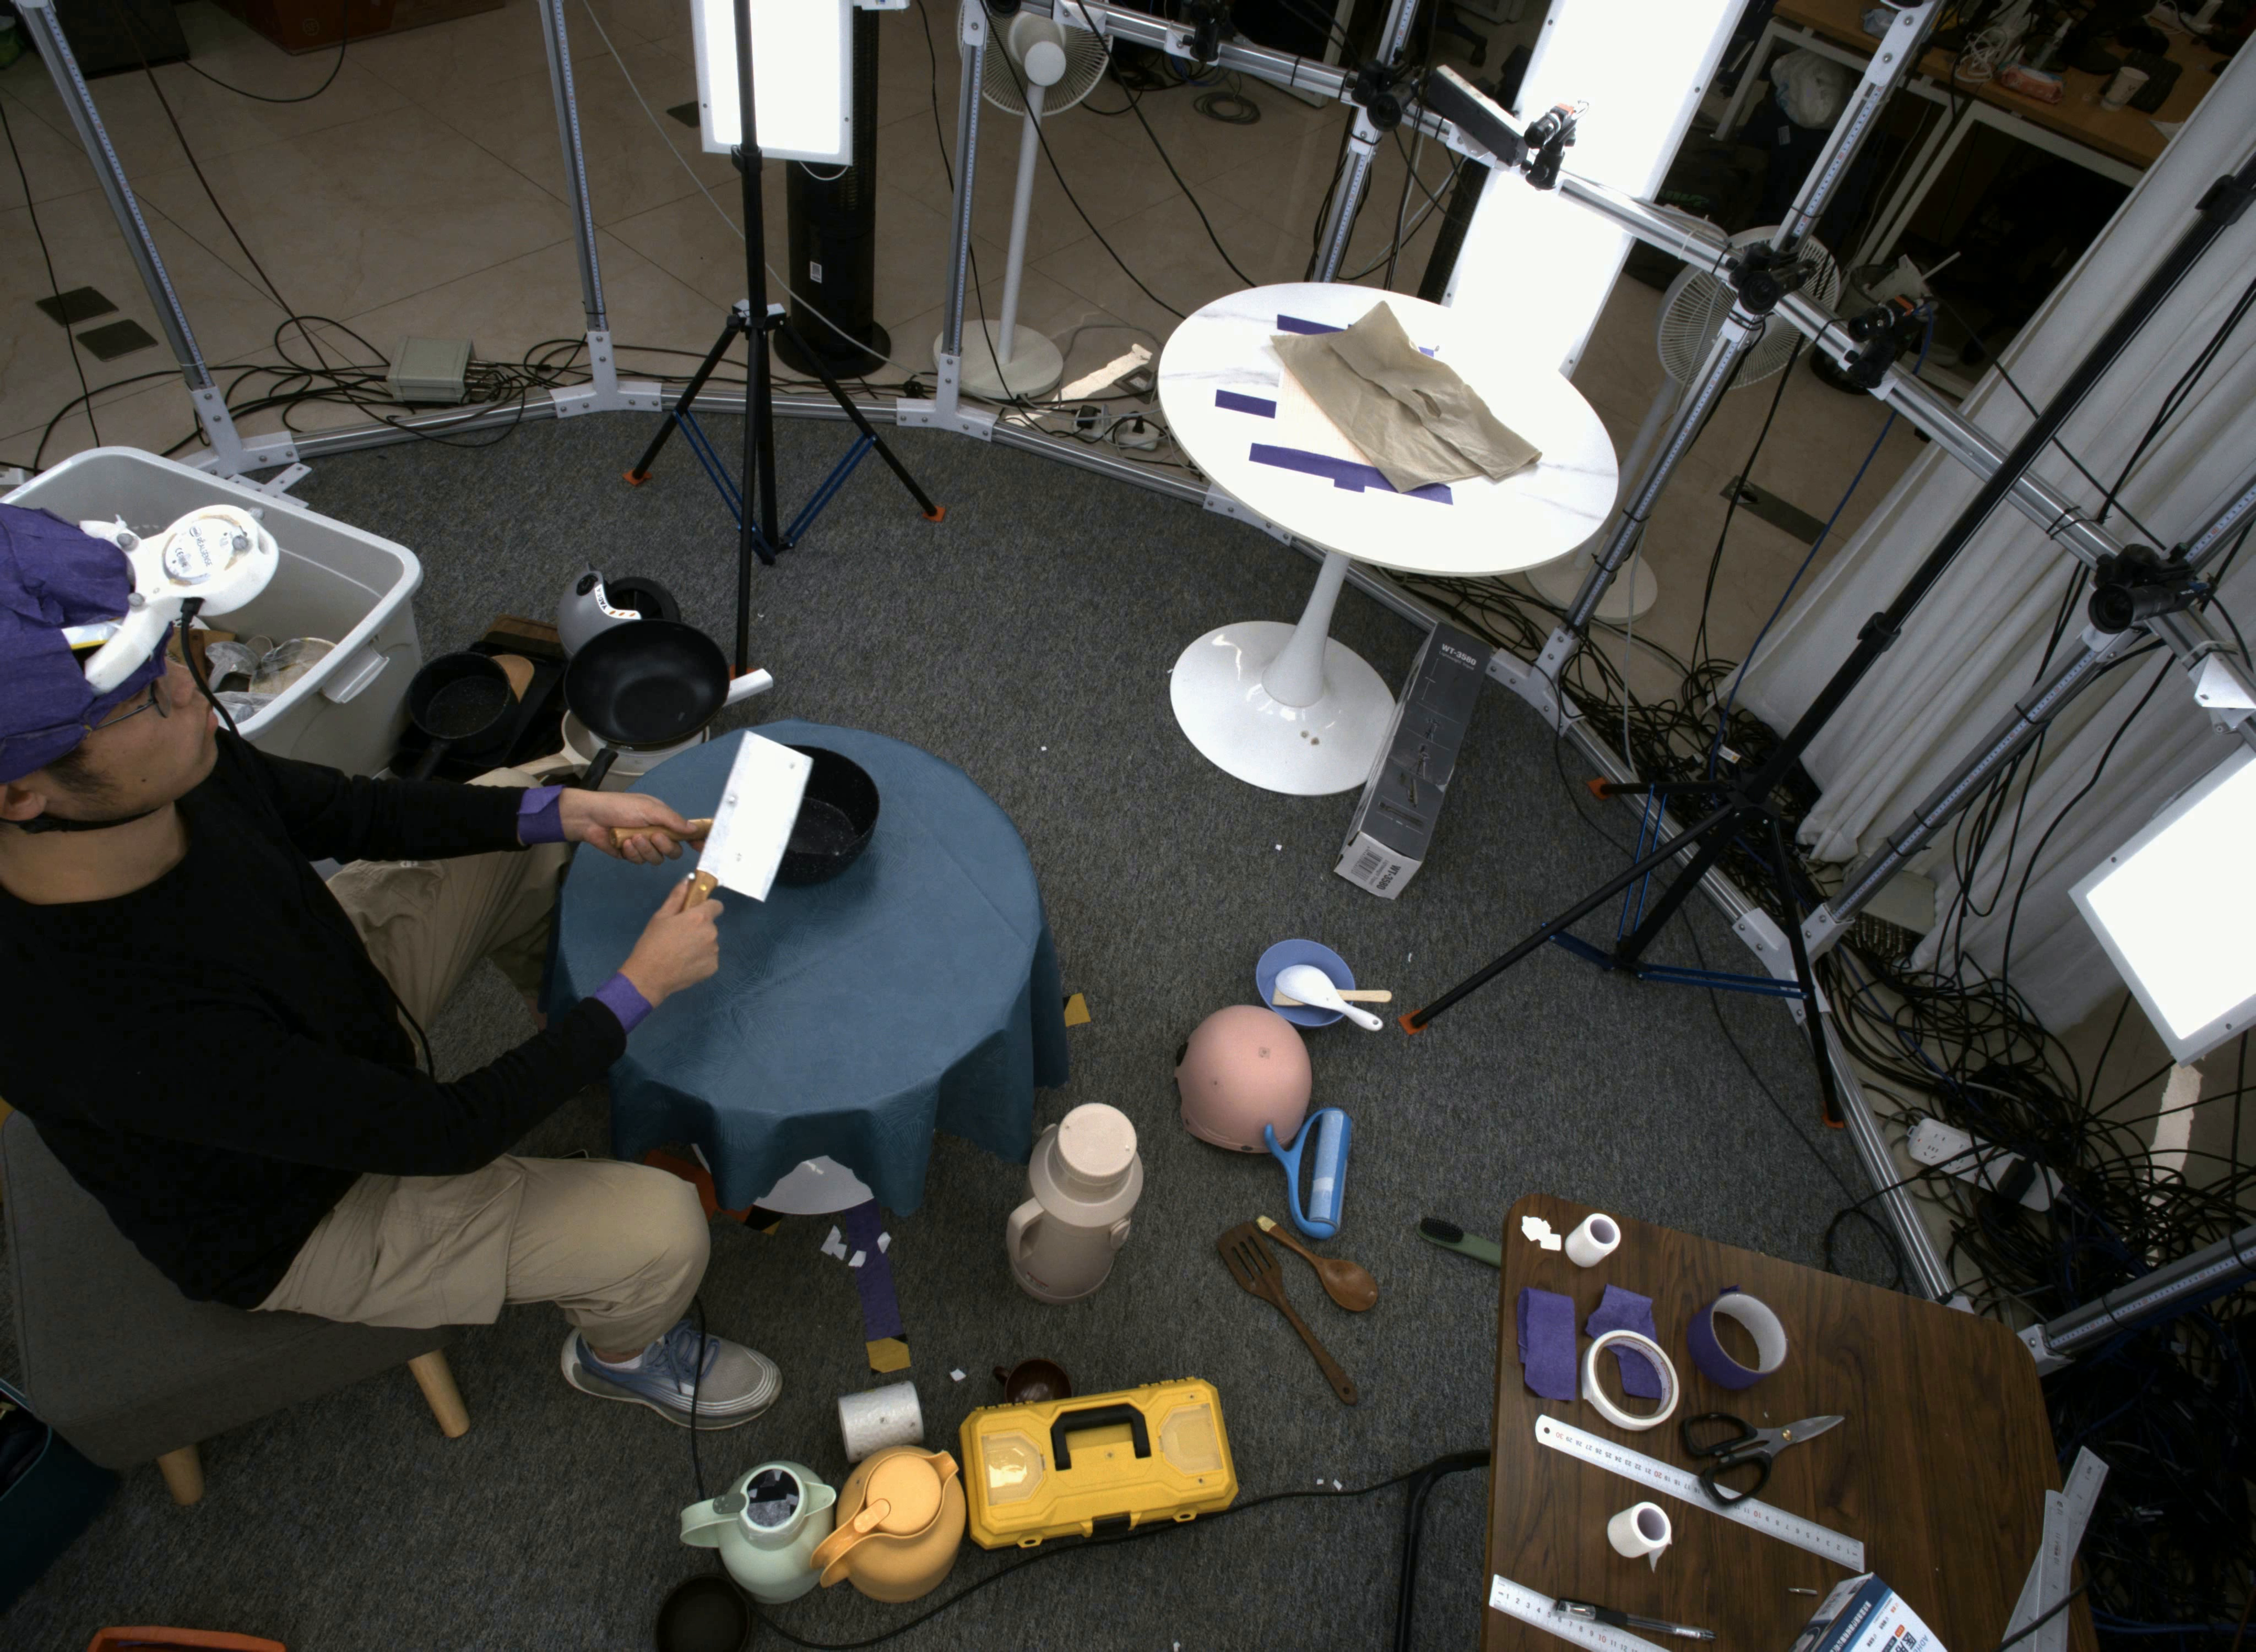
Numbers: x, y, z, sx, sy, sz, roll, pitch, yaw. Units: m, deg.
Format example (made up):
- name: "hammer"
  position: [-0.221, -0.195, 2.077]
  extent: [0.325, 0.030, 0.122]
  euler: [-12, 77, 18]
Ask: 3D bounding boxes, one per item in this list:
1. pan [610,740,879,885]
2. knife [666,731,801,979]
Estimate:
- name: "pan"
  position: [-0.478, 0.002, 1.613]
  extent: [0.346, 0.110, 0.202]
  euler: [-17, 58, -35]
- name: "knife"
  position: [-0.459, 0.038, 1.525]
  extent: [0.095, 0.020, 0.305]
  euler: [25, 71, -30]
